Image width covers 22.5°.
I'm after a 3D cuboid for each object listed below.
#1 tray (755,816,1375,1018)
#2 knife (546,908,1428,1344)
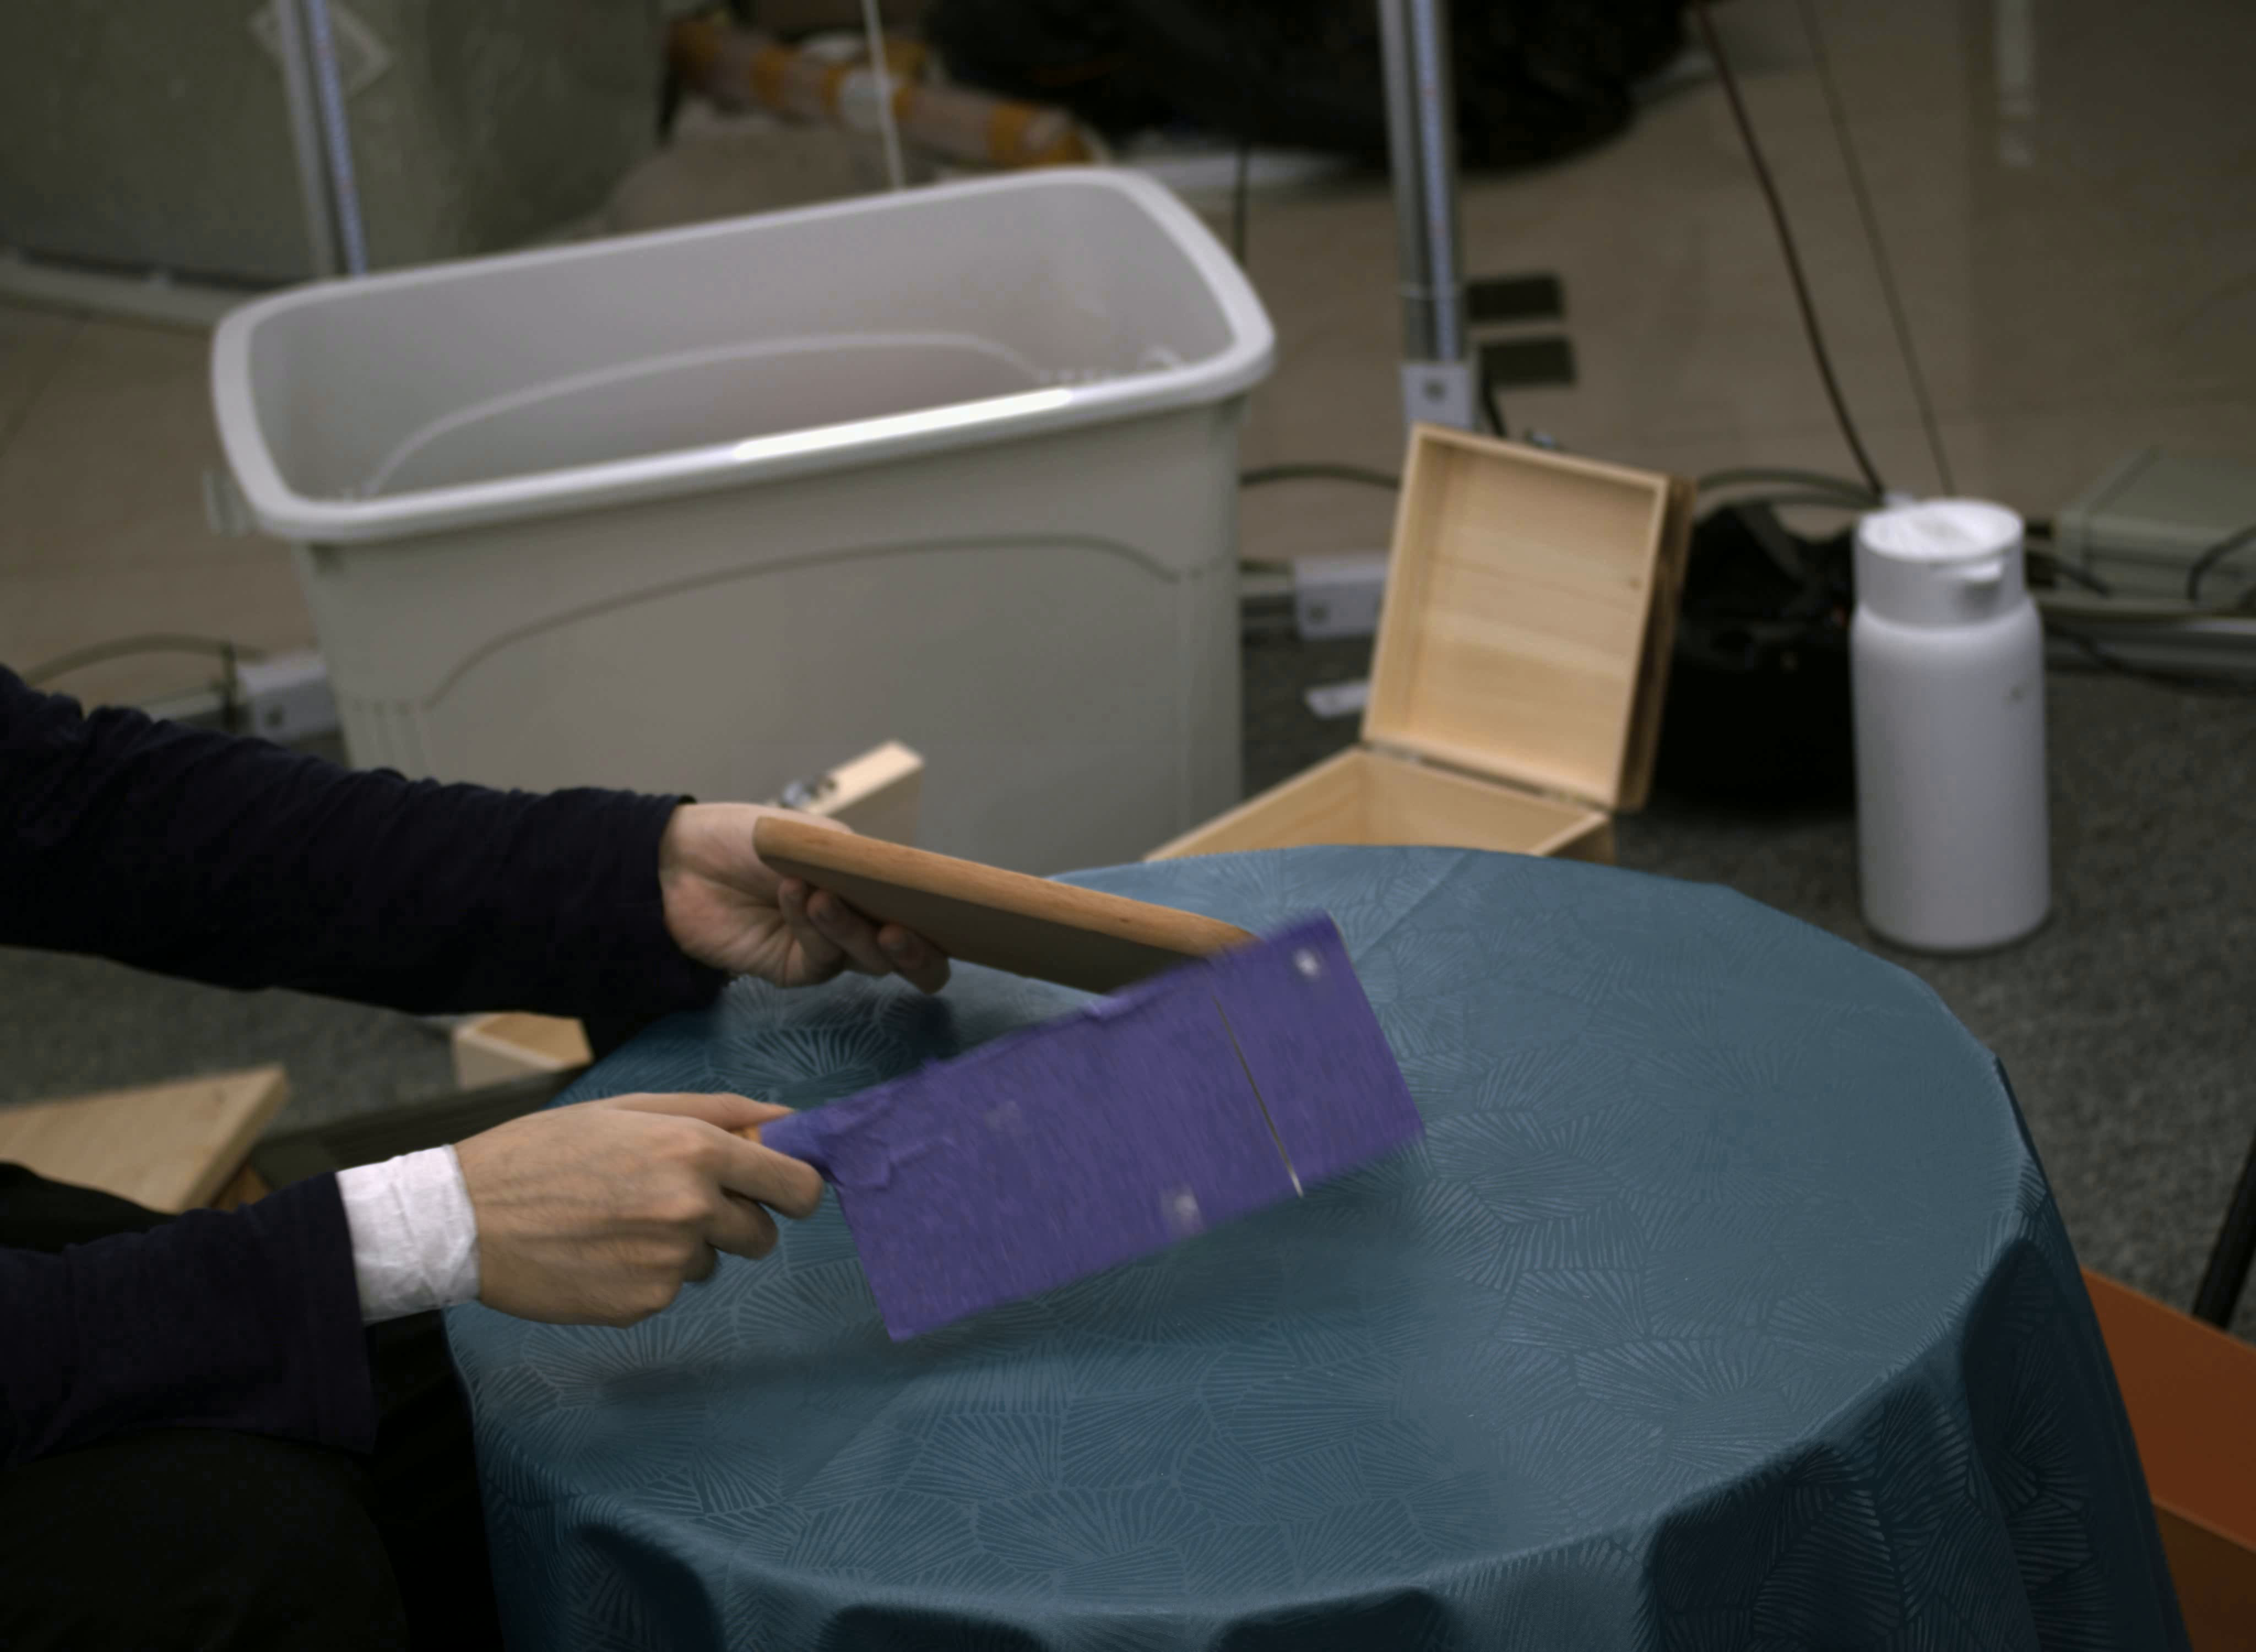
[{"bbox_3d":[-0.027,0.043,2.221,0.249,0.132,0.023,11,73,34],"label":"tray"},{"bbox_3d":[-0.050,0.129,2.045,0.315,0.103,0.032,-20,-9,0],"label":"knife"}]
